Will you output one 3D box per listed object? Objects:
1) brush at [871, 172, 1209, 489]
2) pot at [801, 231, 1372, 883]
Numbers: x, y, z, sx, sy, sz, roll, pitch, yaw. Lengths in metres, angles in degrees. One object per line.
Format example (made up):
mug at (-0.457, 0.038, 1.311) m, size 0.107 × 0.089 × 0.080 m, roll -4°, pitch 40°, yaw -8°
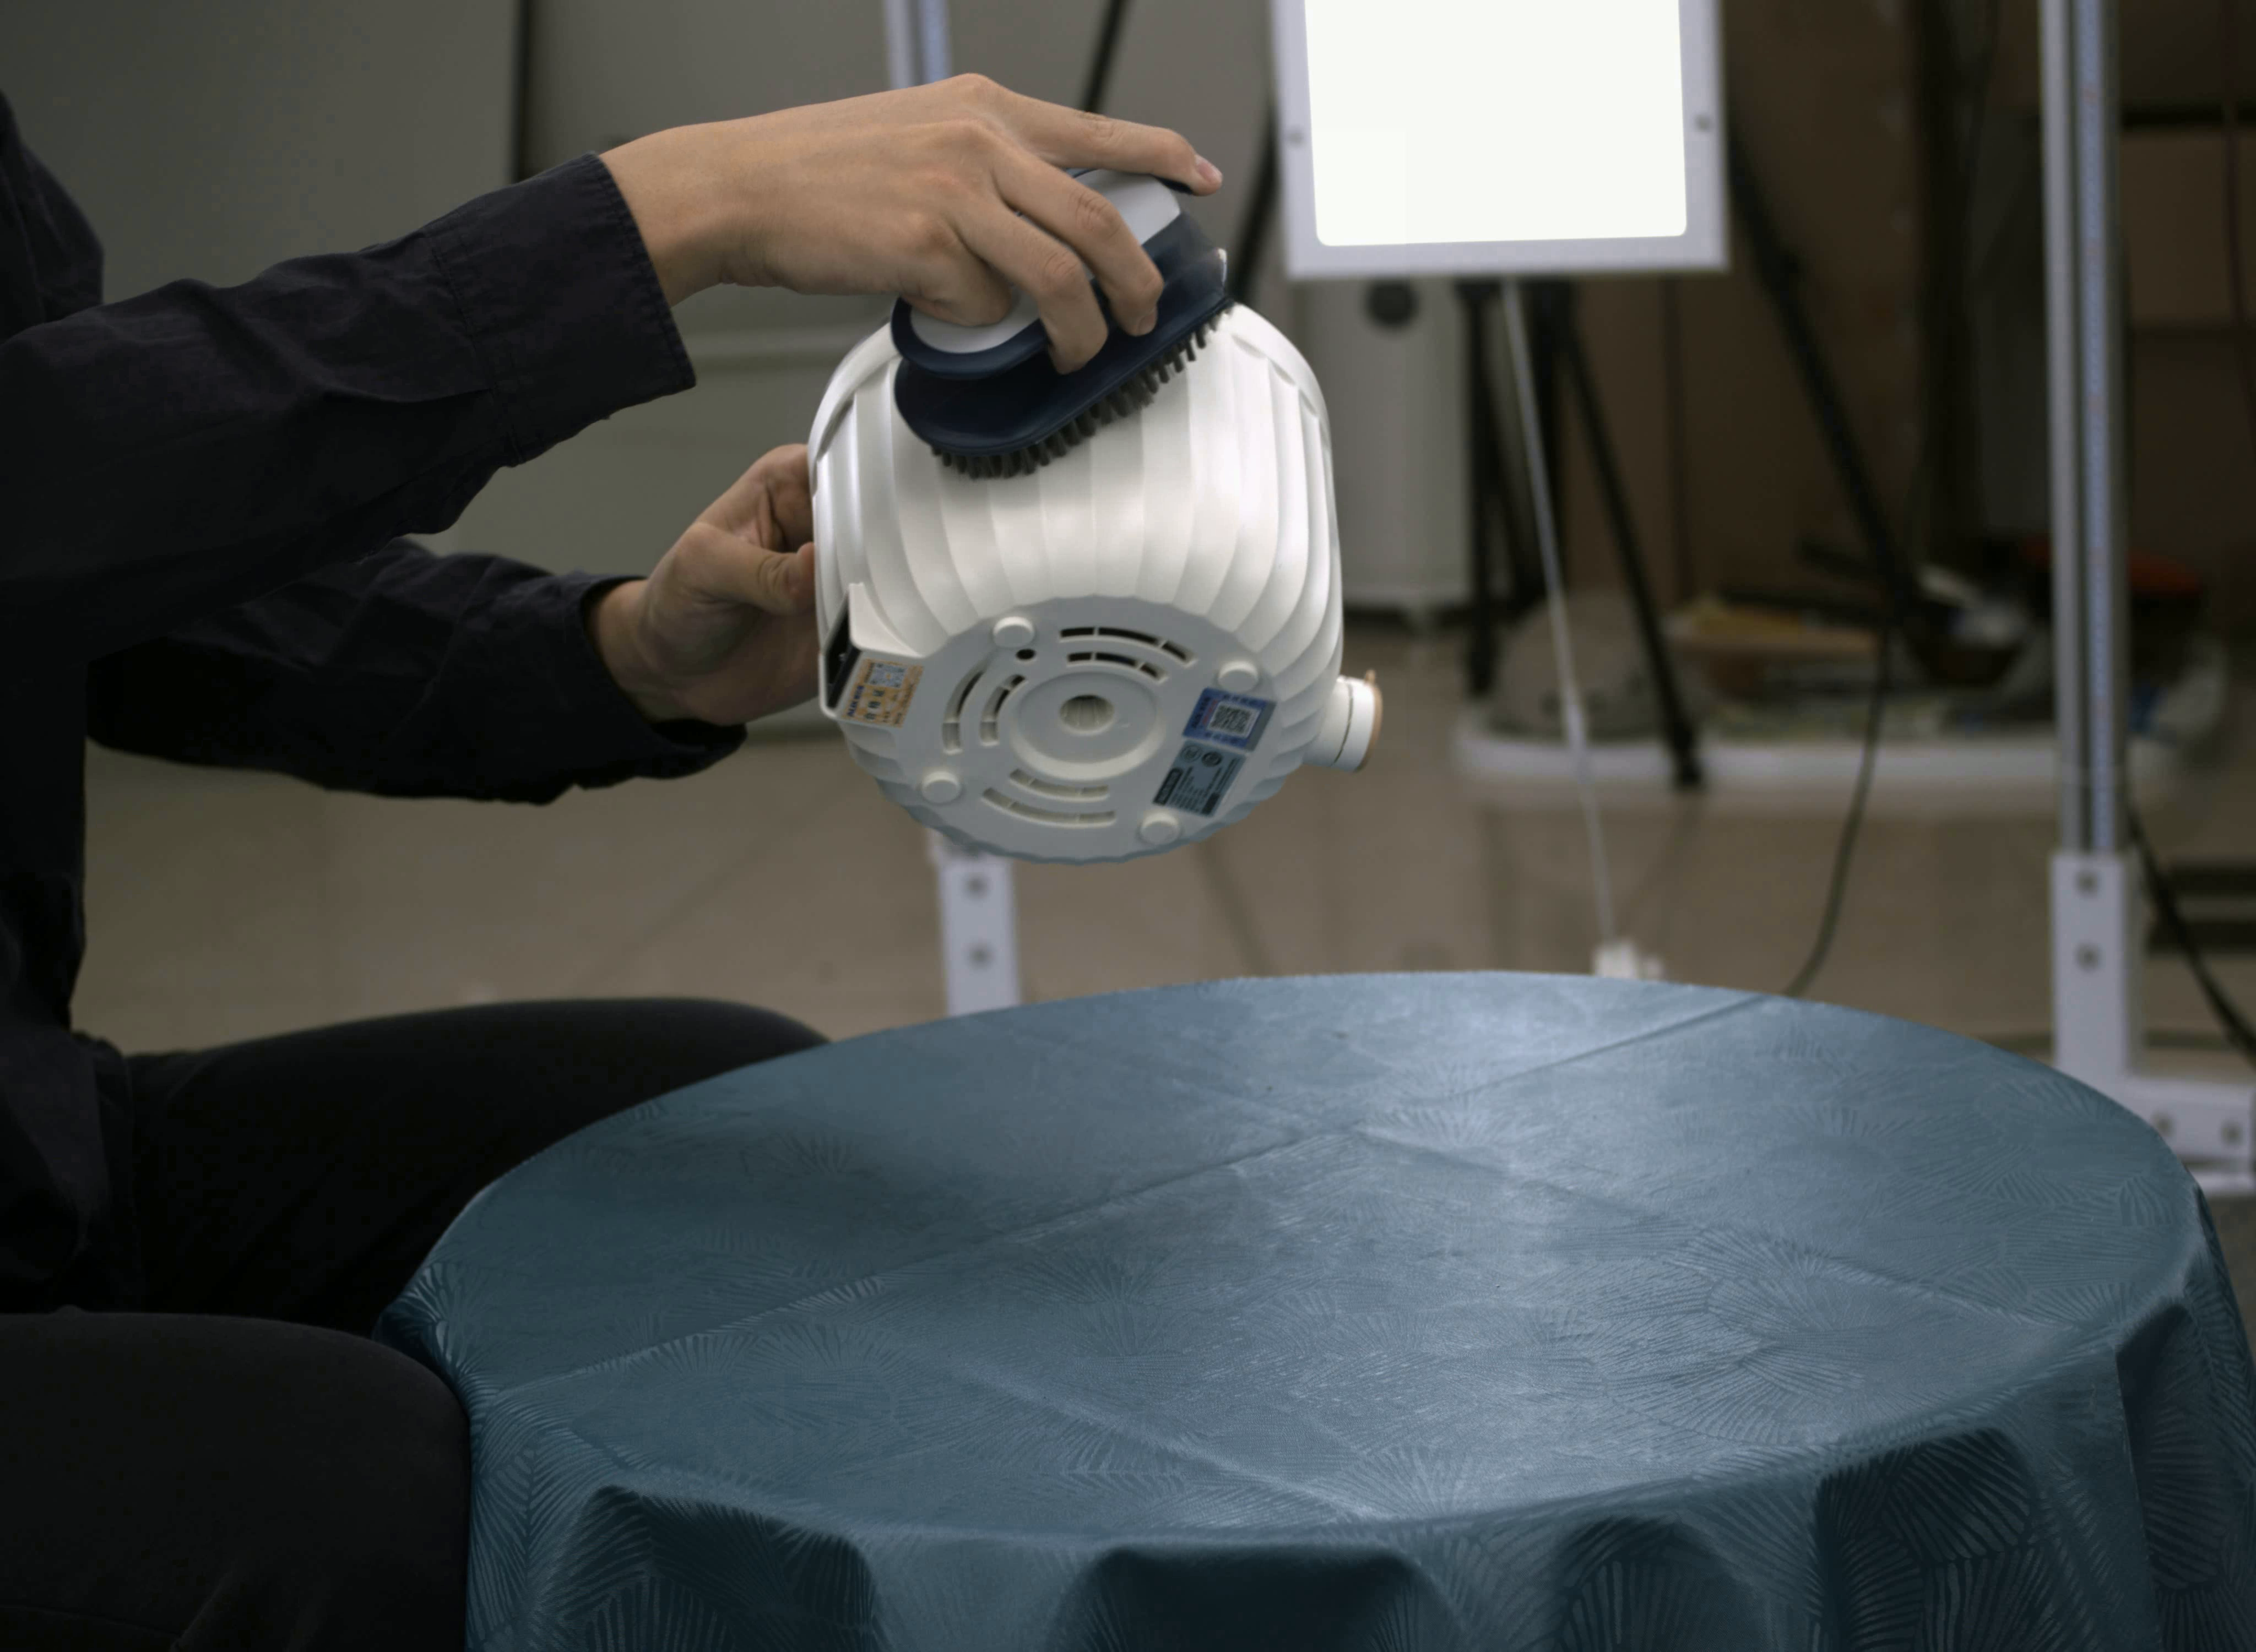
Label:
brush at (-0.028, -0.157, 1.770) m, size 0.120 × 0.061 × 0.069 m, roll -32°, pitch 54°, yaw -16°
pot at (-0.014, -0.073, 1.873) m, size 0.187 × 0.244 × 0.142 m, roll 10°, pitch 48°, yaw -17°
